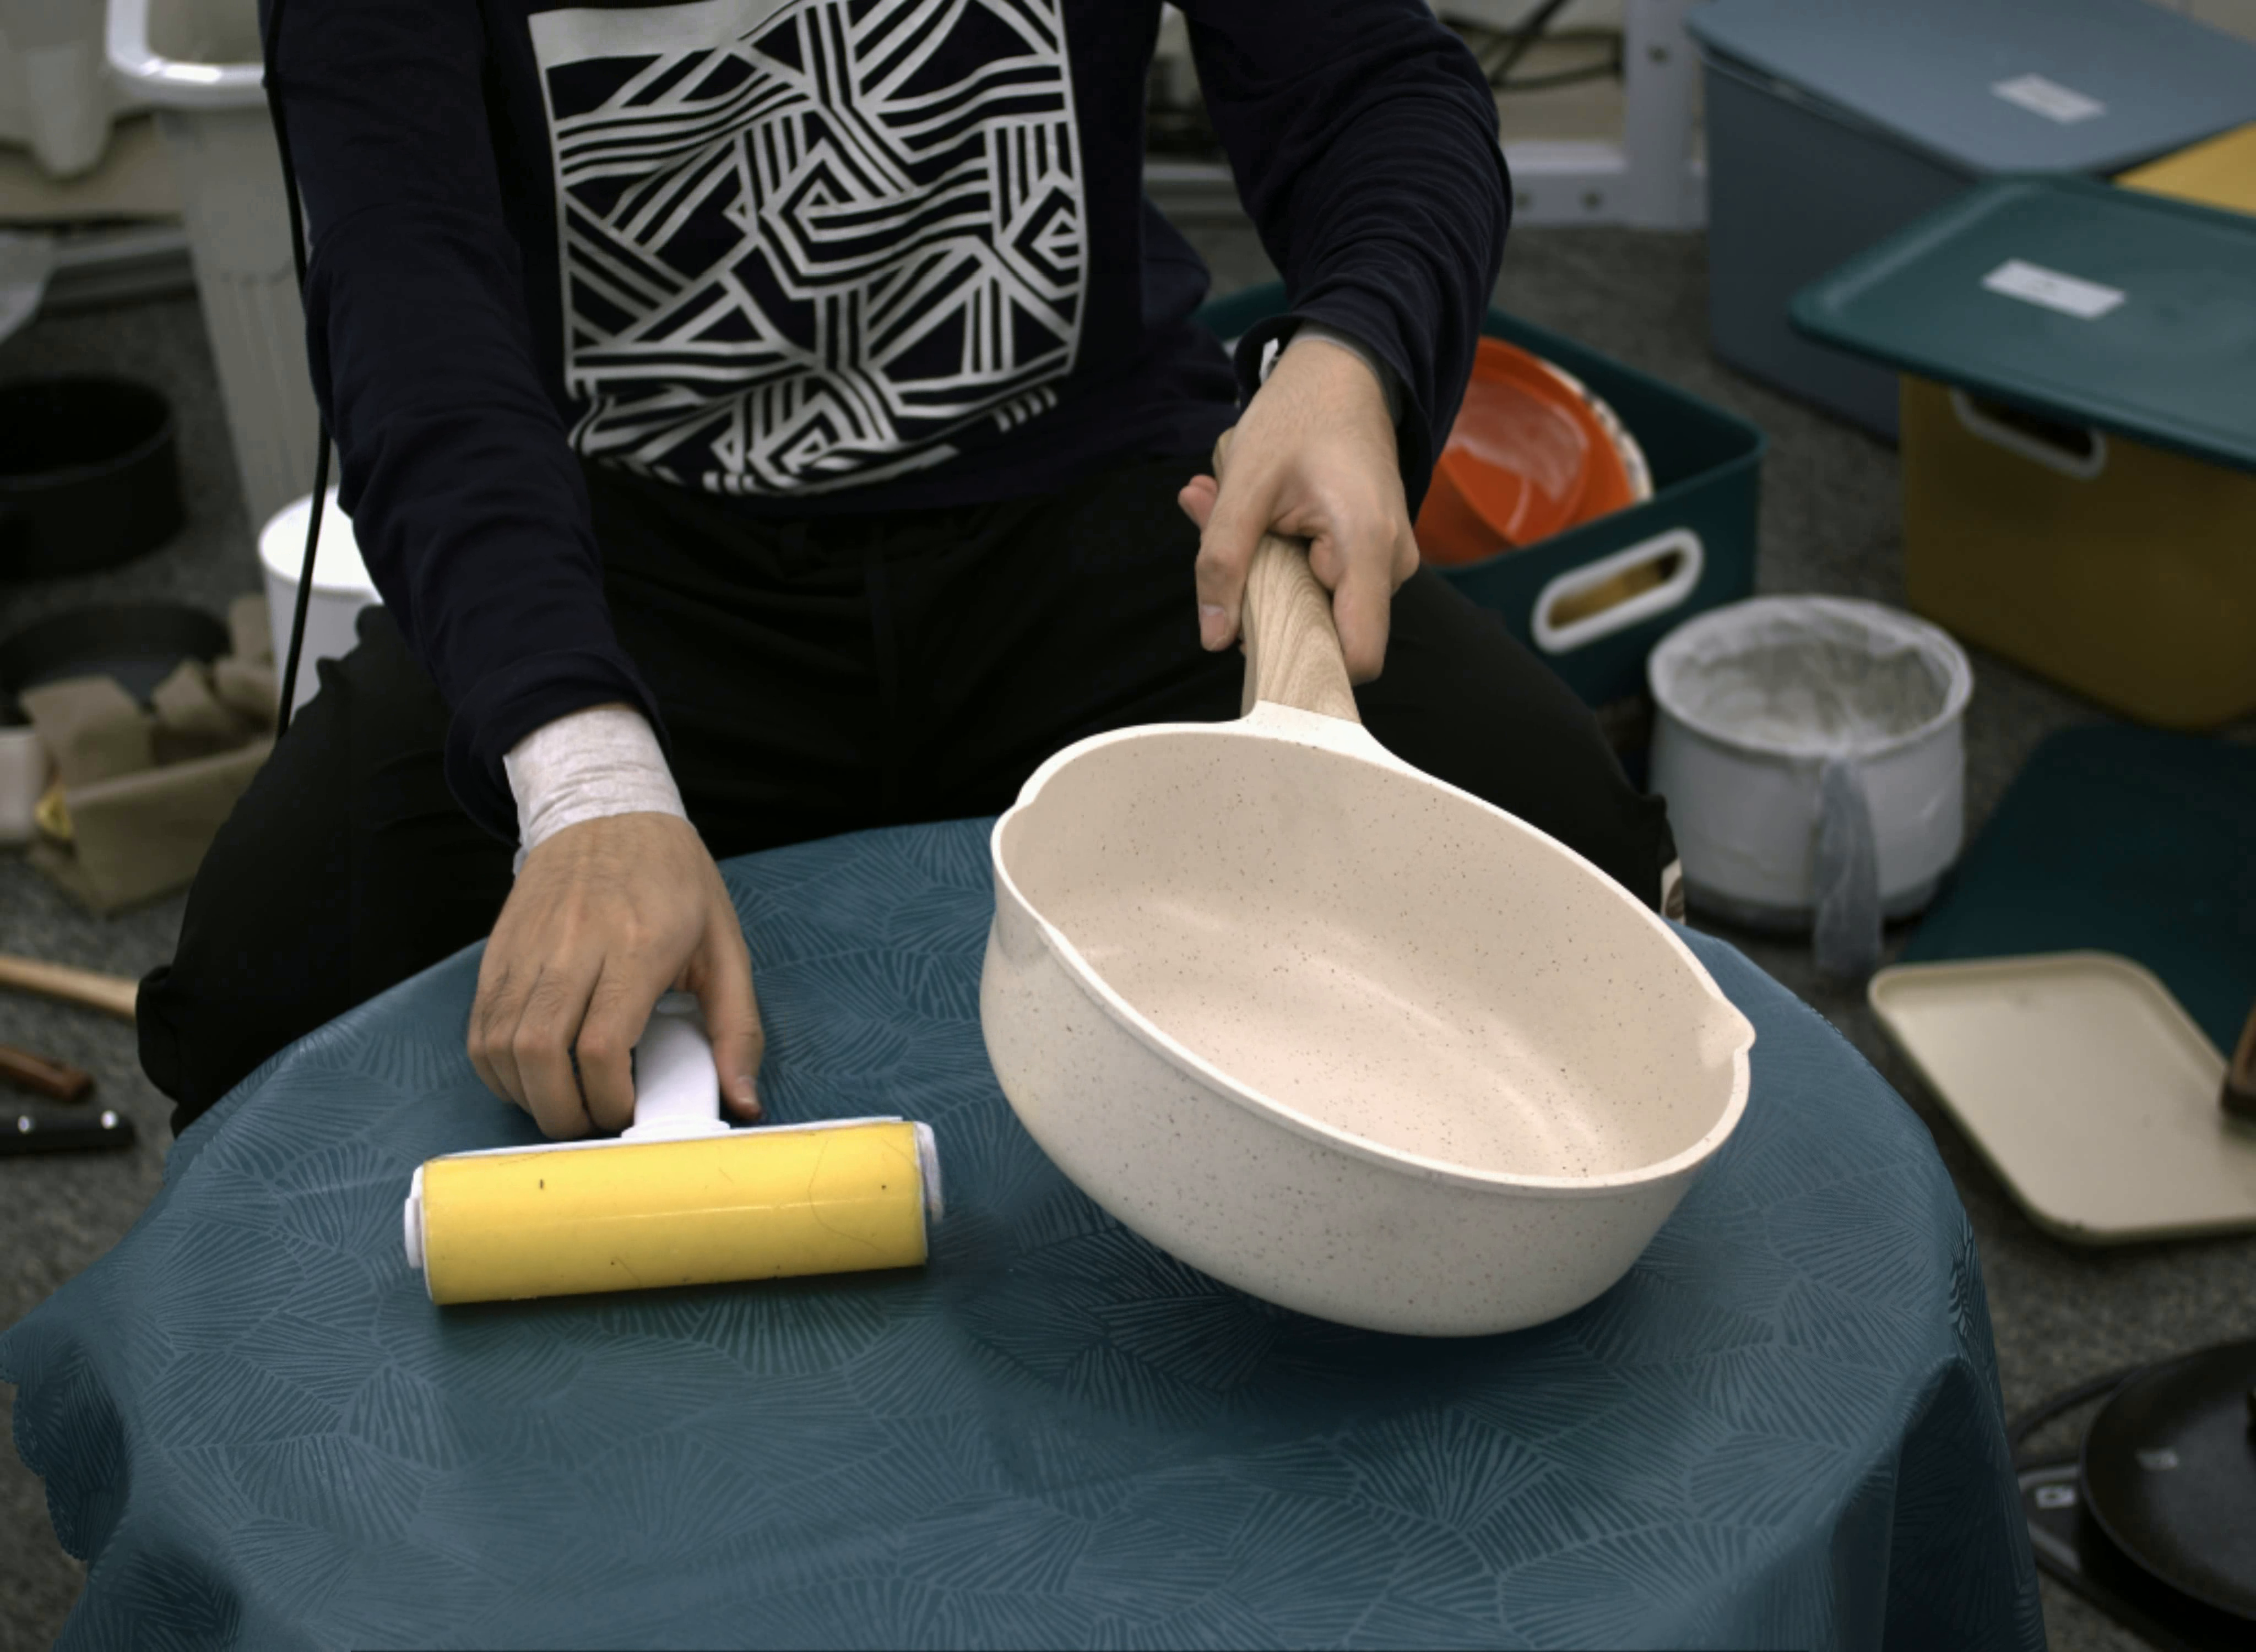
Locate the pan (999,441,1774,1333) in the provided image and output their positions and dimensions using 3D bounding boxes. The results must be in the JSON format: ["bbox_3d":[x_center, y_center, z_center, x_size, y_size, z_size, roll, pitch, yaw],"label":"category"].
[{"bbox_3d":[0.062,0.016,1.875,0.263,0.101,0.441,11,28,-16],"label":"pan"}]

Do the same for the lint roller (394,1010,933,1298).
[{"bbox_3d":[-0.156,0.094,1.880,0.173,0.051,0.194,-4,27,-3],"label":"lint roller"}]
